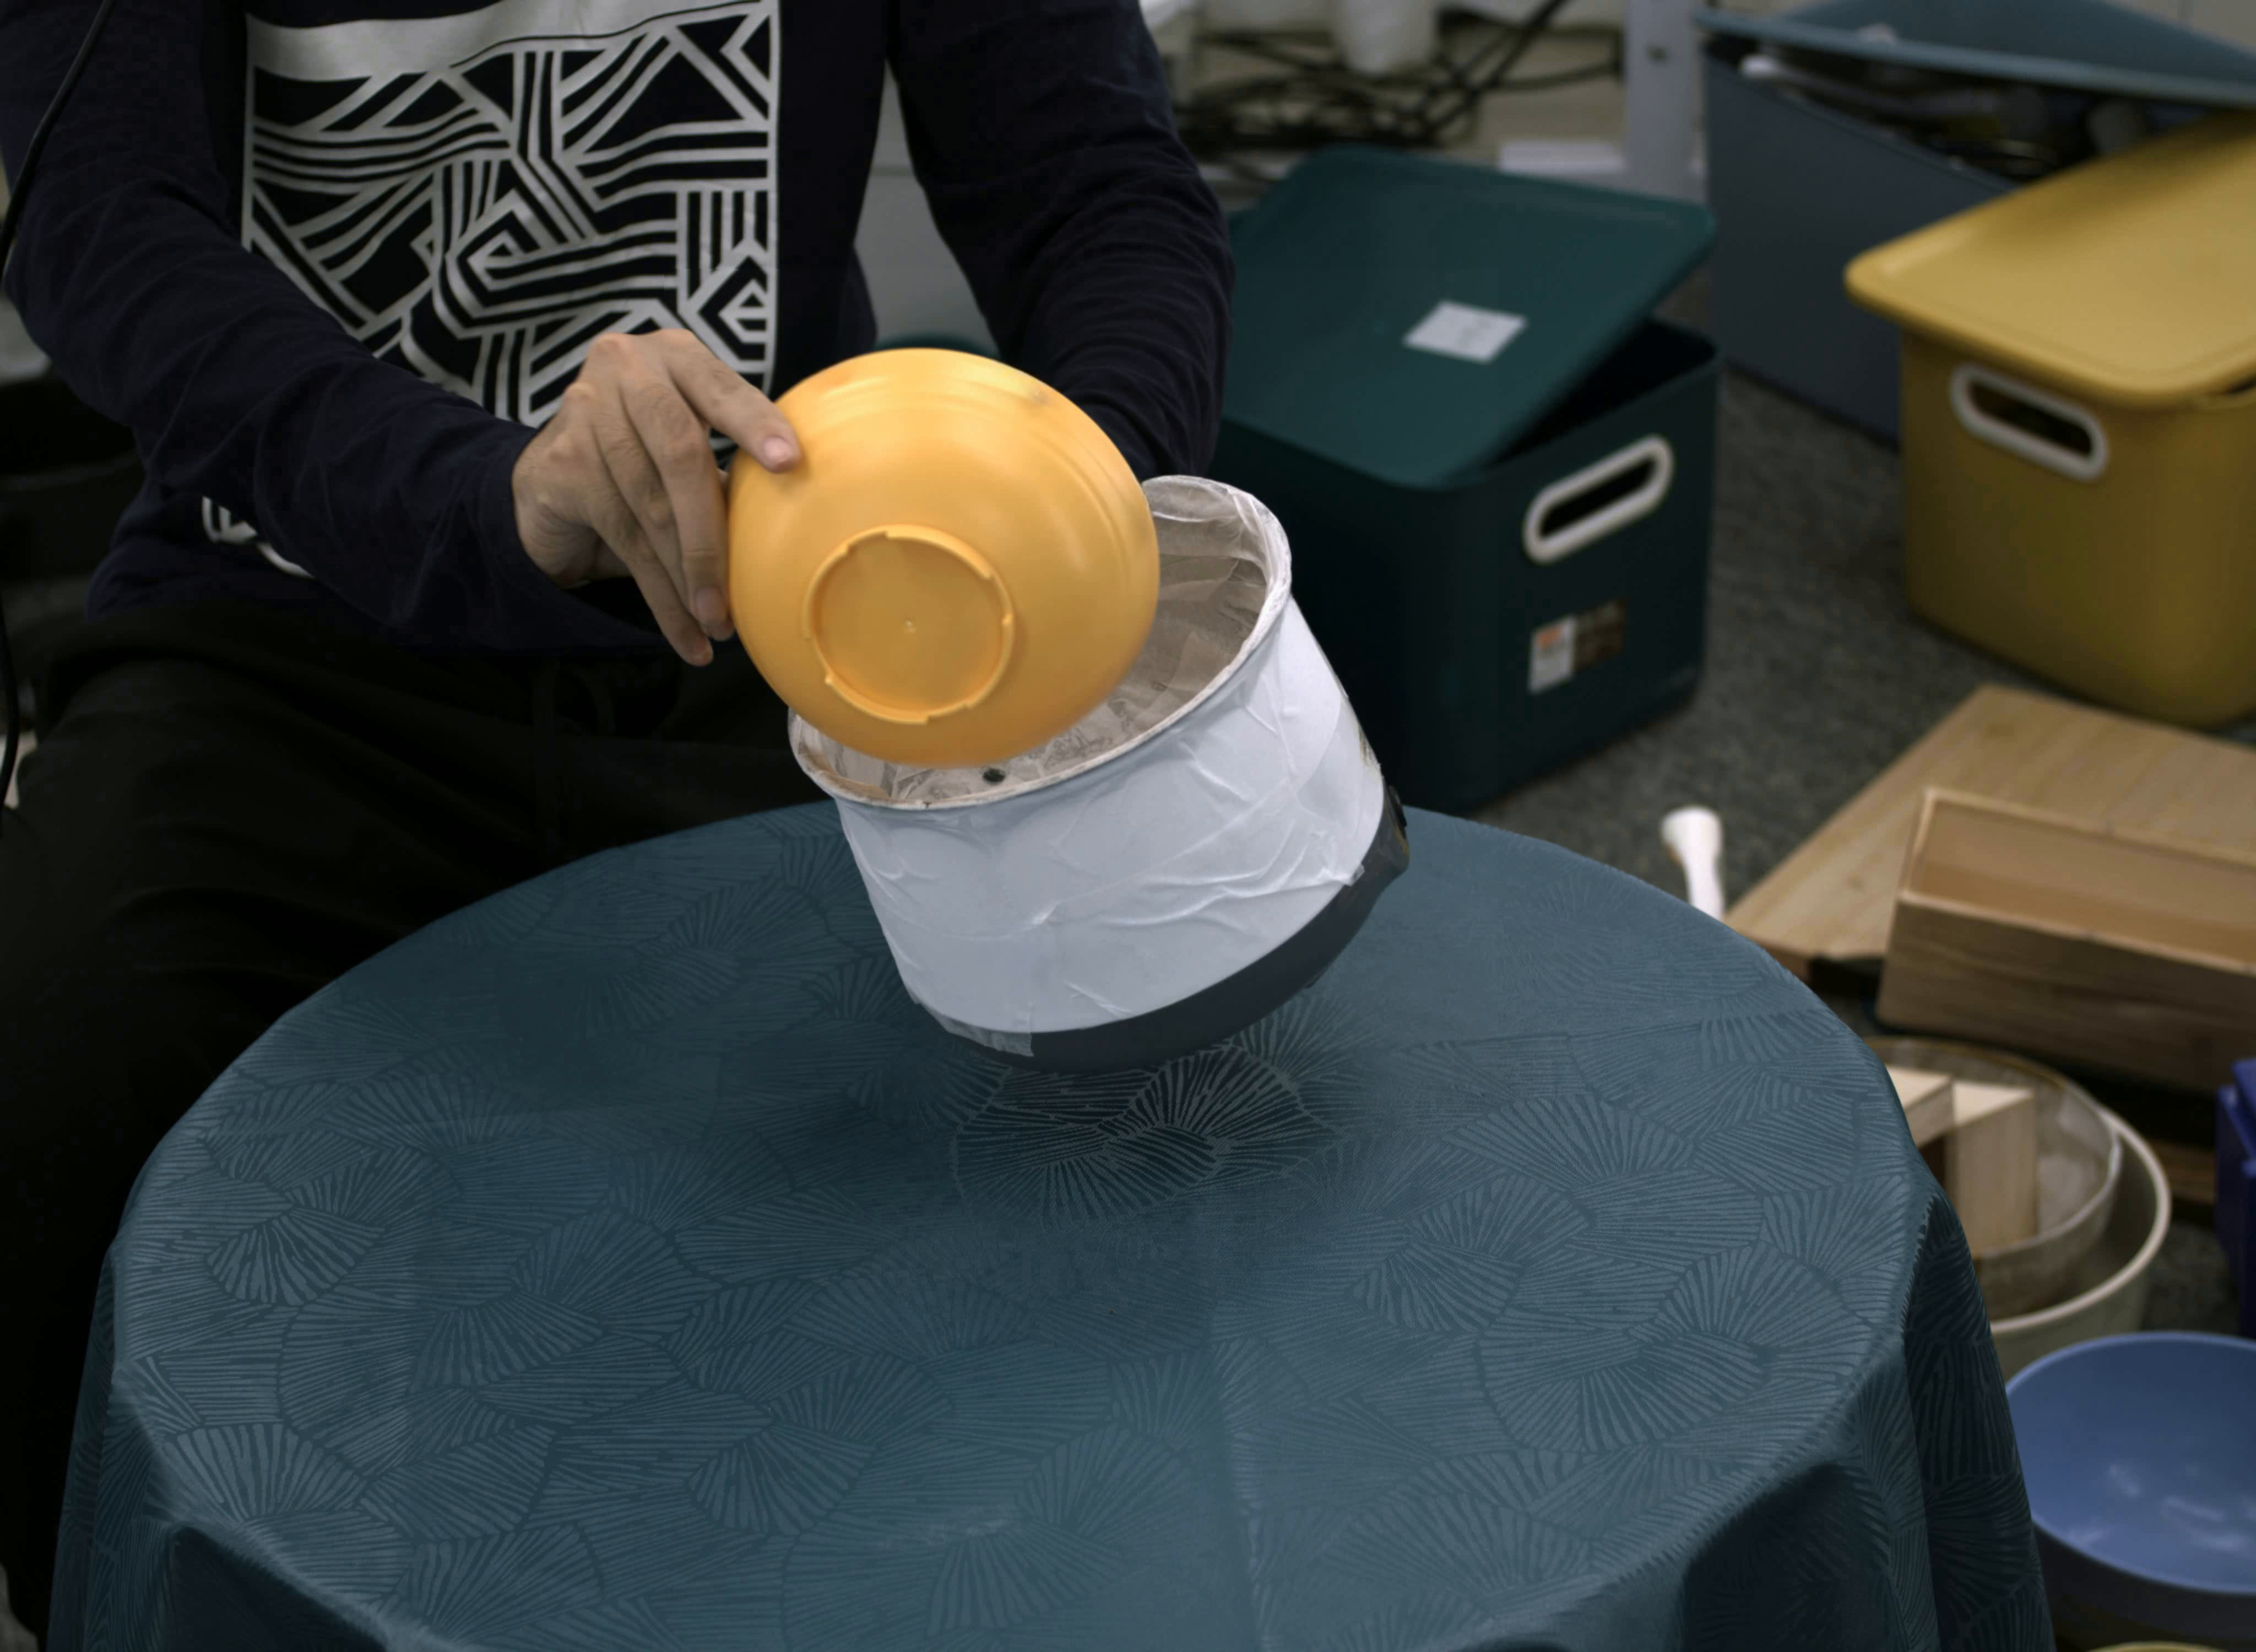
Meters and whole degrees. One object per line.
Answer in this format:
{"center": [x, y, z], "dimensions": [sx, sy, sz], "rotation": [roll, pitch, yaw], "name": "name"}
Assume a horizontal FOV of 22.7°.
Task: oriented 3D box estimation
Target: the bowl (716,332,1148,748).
{"center": [-0.069, -0.079, 1.791], "dimensions": [0.144, 0.143, 0.061], "rotation": [3, 30, 11], "name": "bowl"}

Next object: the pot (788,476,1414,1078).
{"center": [-0.010, -0.027, 1.899], "dimensions": [0.178, 0.135, 0.237], "rotation": [-21, 30, 5], "name": "pot"}
